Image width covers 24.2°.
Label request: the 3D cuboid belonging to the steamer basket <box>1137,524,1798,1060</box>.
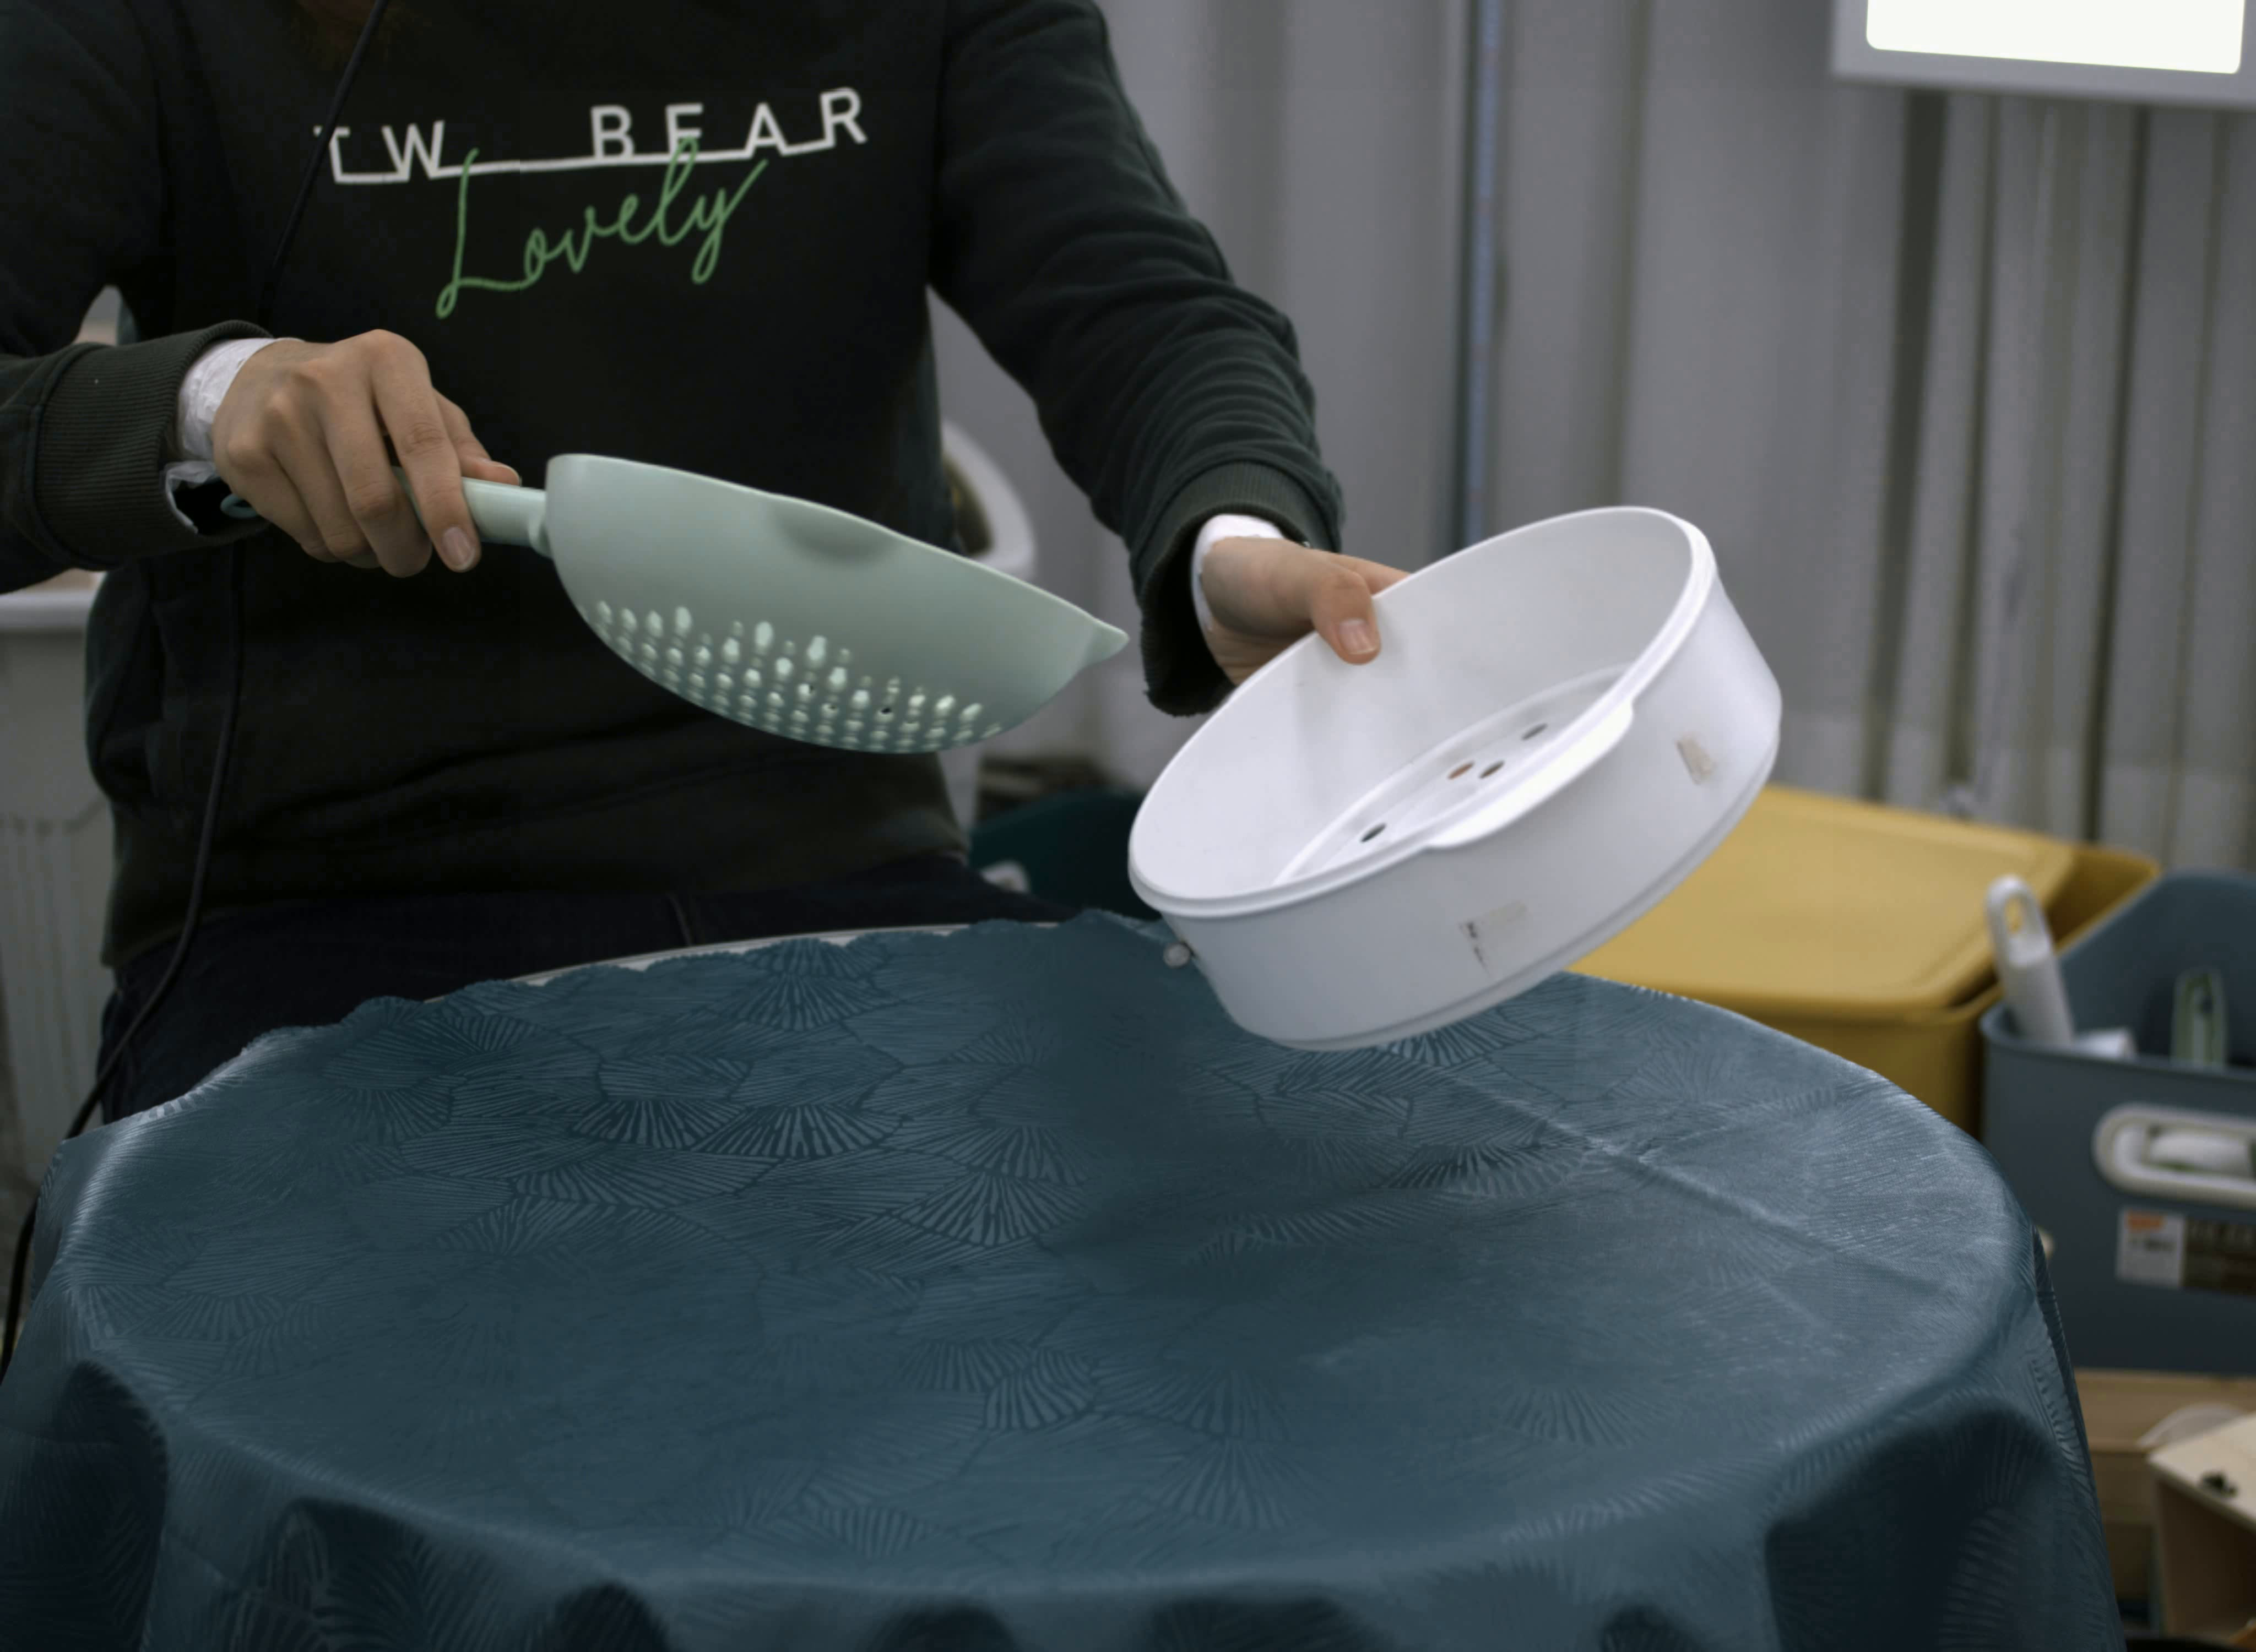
[{"bbox_3d":[0.104,-0.009,1.579,0.202,0.070,0.228,-34,20,-9],"label":"steamer basket"}]

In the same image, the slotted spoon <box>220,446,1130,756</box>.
[{"bbox_3d":[-0.162,-0.085,1.603,0.354,0.075,0.171,23,0,42],"label":"slotted spoon"}]
